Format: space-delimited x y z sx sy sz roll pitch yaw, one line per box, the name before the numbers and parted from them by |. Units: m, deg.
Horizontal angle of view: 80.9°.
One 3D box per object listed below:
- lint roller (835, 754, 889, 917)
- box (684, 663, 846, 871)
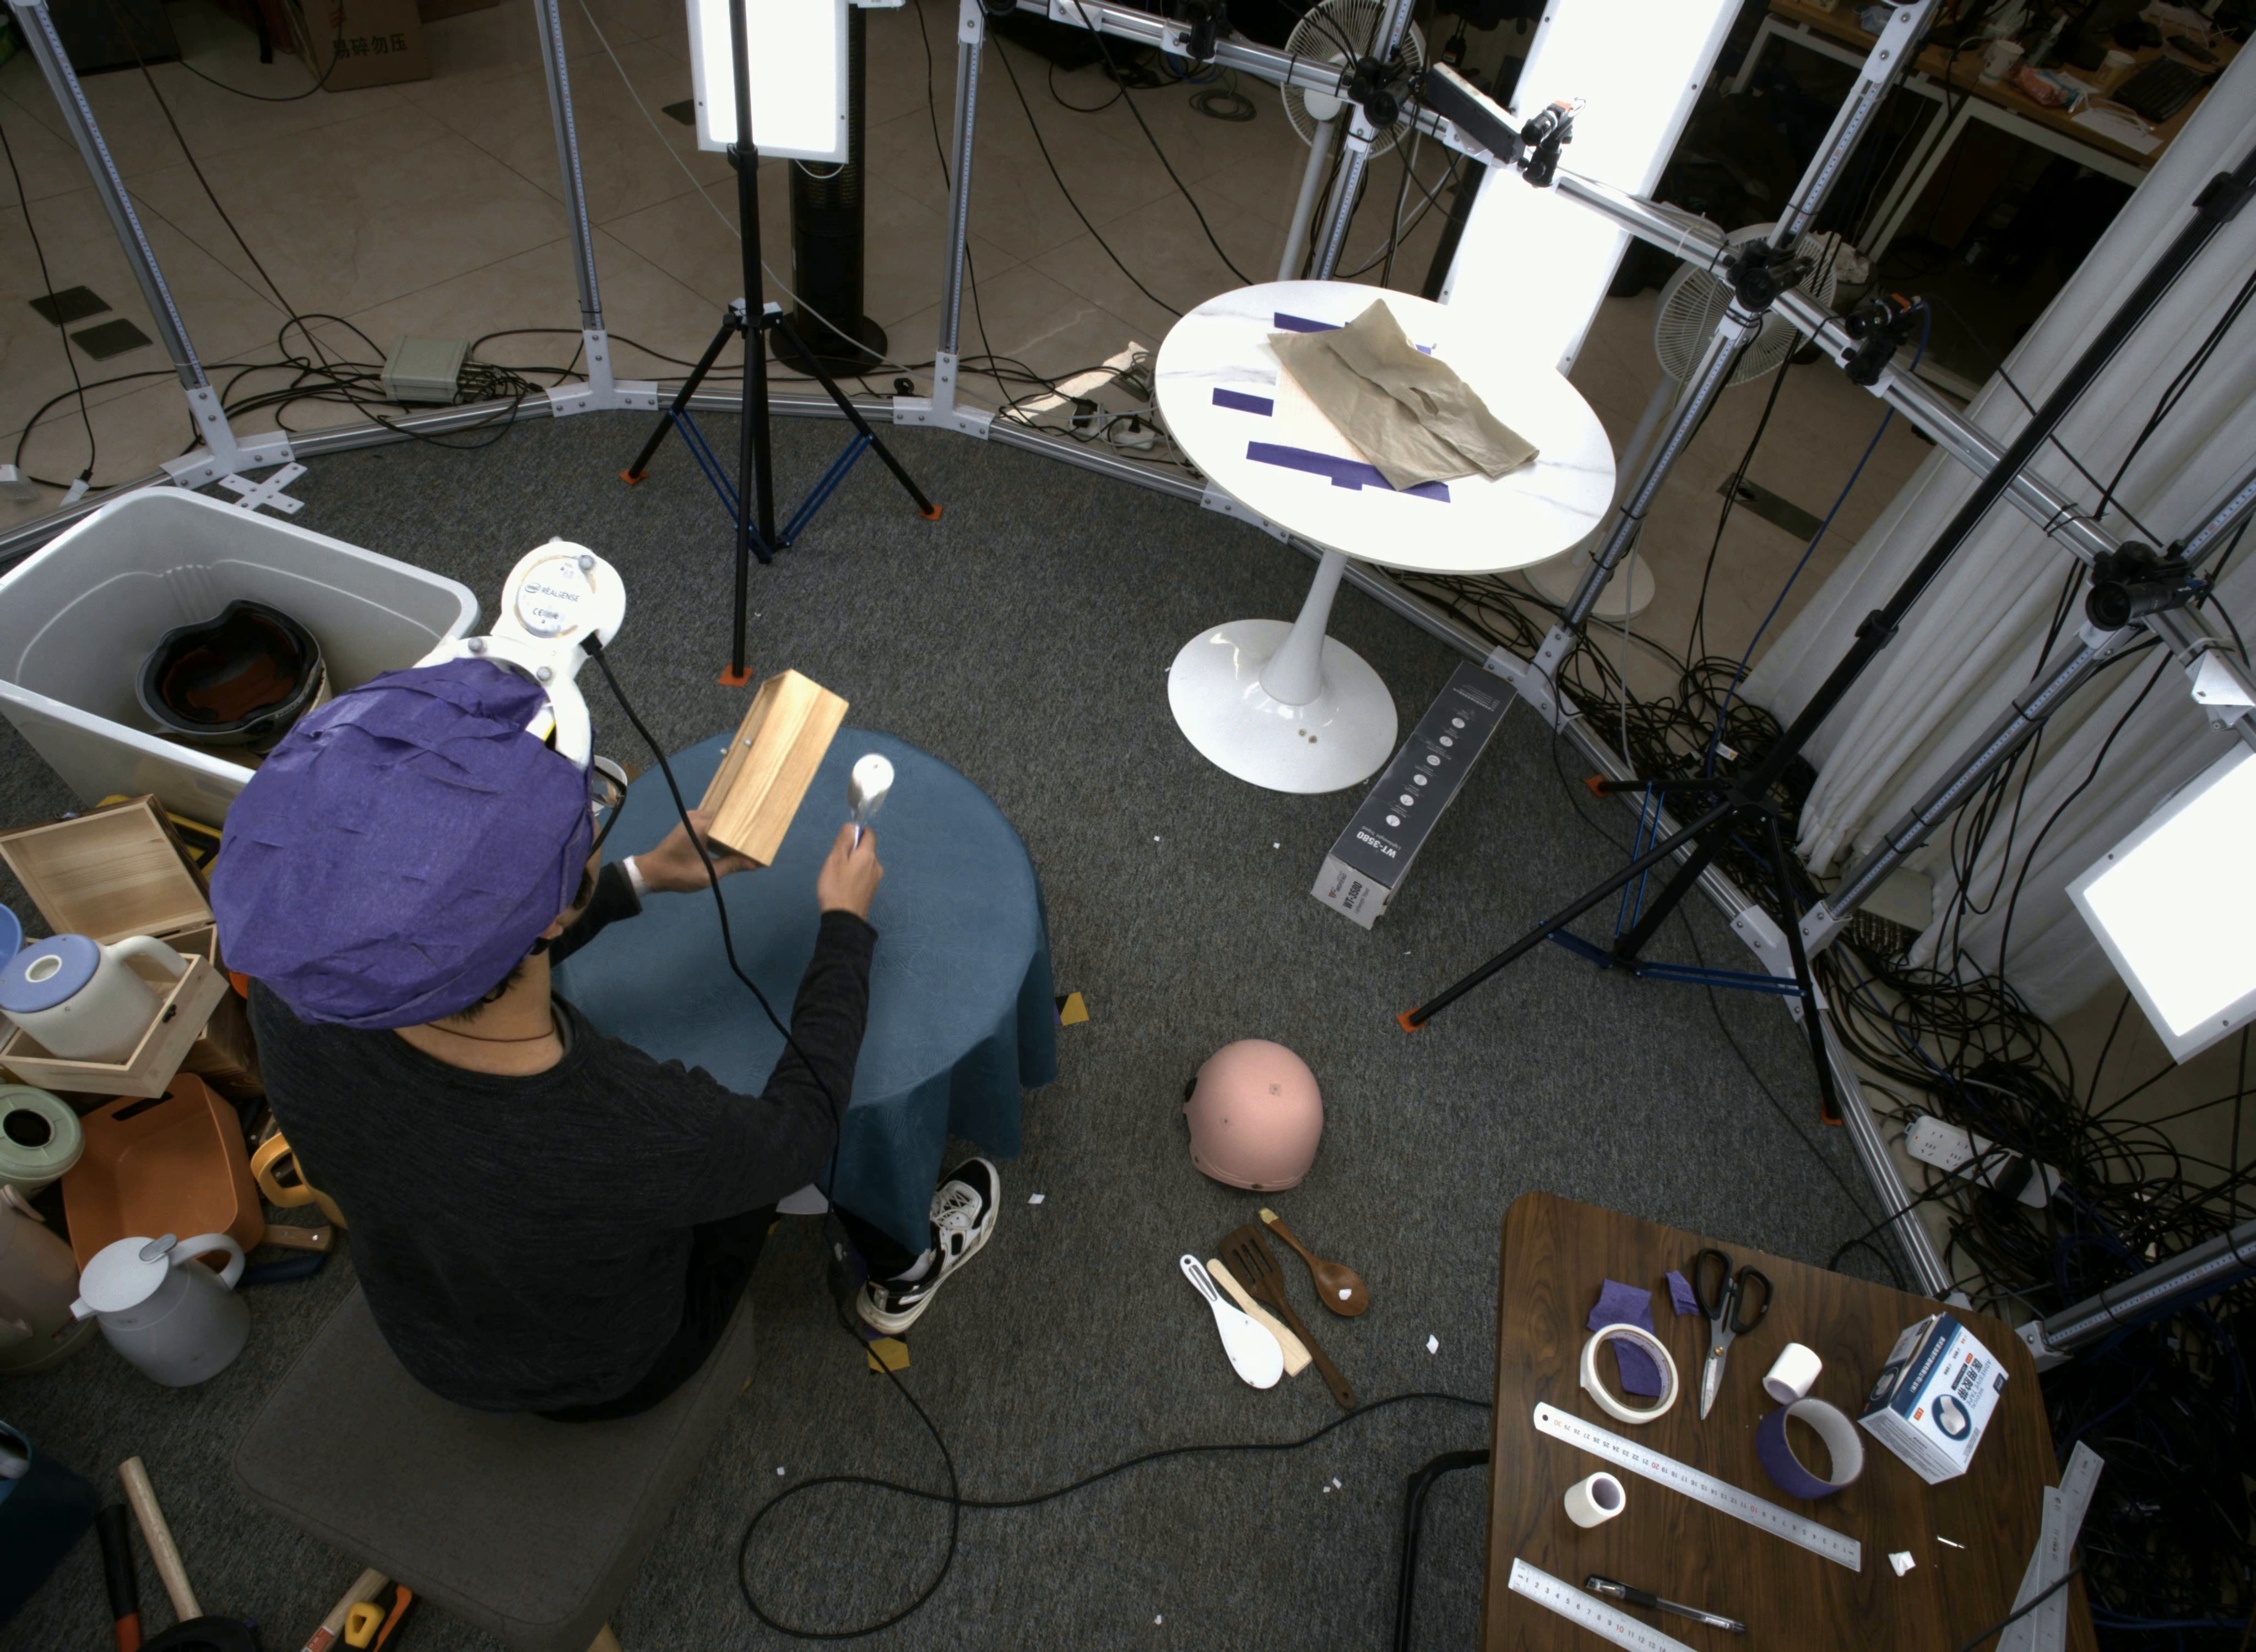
lint roller | -0.310 0.016 1.508 0.050 0.132 0.180 5 73 -16
box | -0.414 -0.065 1.476 0.082 0.105 0.211 30 71 -28
